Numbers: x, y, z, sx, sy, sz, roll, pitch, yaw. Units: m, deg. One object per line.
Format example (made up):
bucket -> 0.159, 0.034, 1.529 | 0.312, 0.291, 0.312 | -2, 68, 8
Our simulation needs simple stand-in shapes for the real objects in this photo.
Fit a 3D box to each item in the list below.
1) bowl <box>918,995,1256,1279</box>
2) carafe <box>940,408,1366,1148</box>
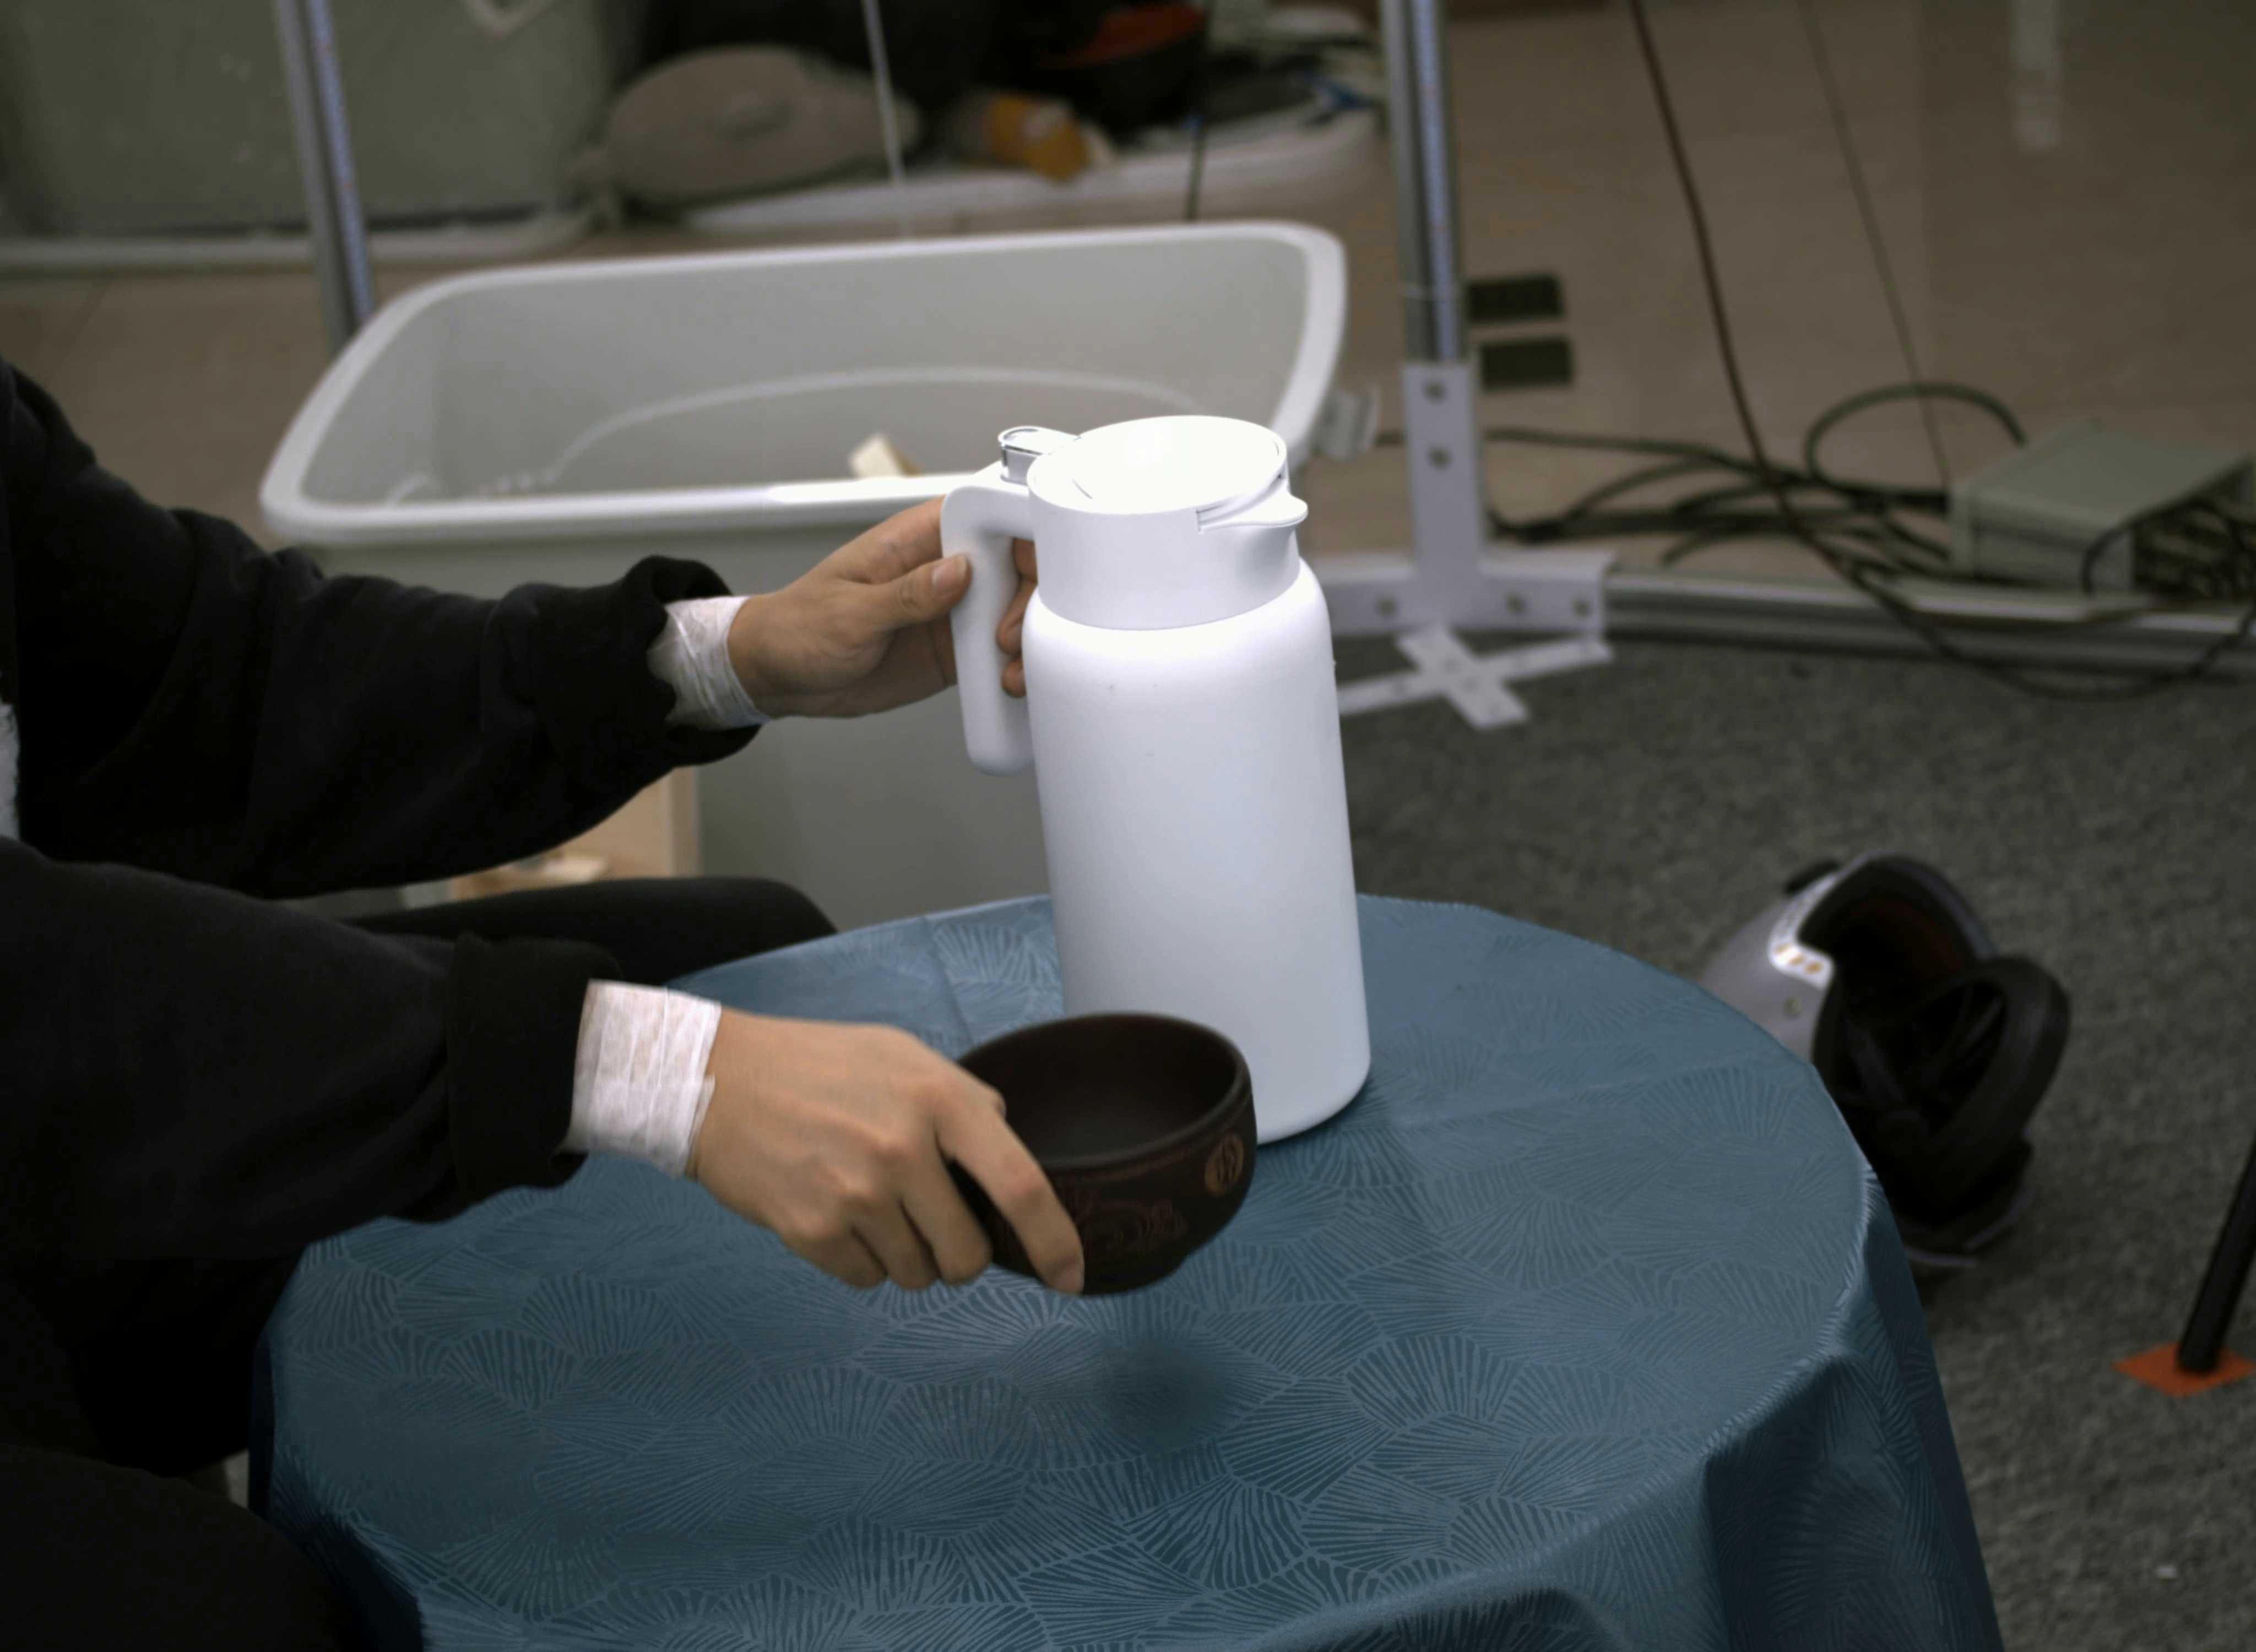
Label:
bowl -> -0.013, 0.115, 1.984 | 0.118, 0.071, 0.116 | -5, 25, 3
carafe -> 0.009, -0.019, 2.166 | 0.172, 0.273, 0.122 | 14, 35, 36
